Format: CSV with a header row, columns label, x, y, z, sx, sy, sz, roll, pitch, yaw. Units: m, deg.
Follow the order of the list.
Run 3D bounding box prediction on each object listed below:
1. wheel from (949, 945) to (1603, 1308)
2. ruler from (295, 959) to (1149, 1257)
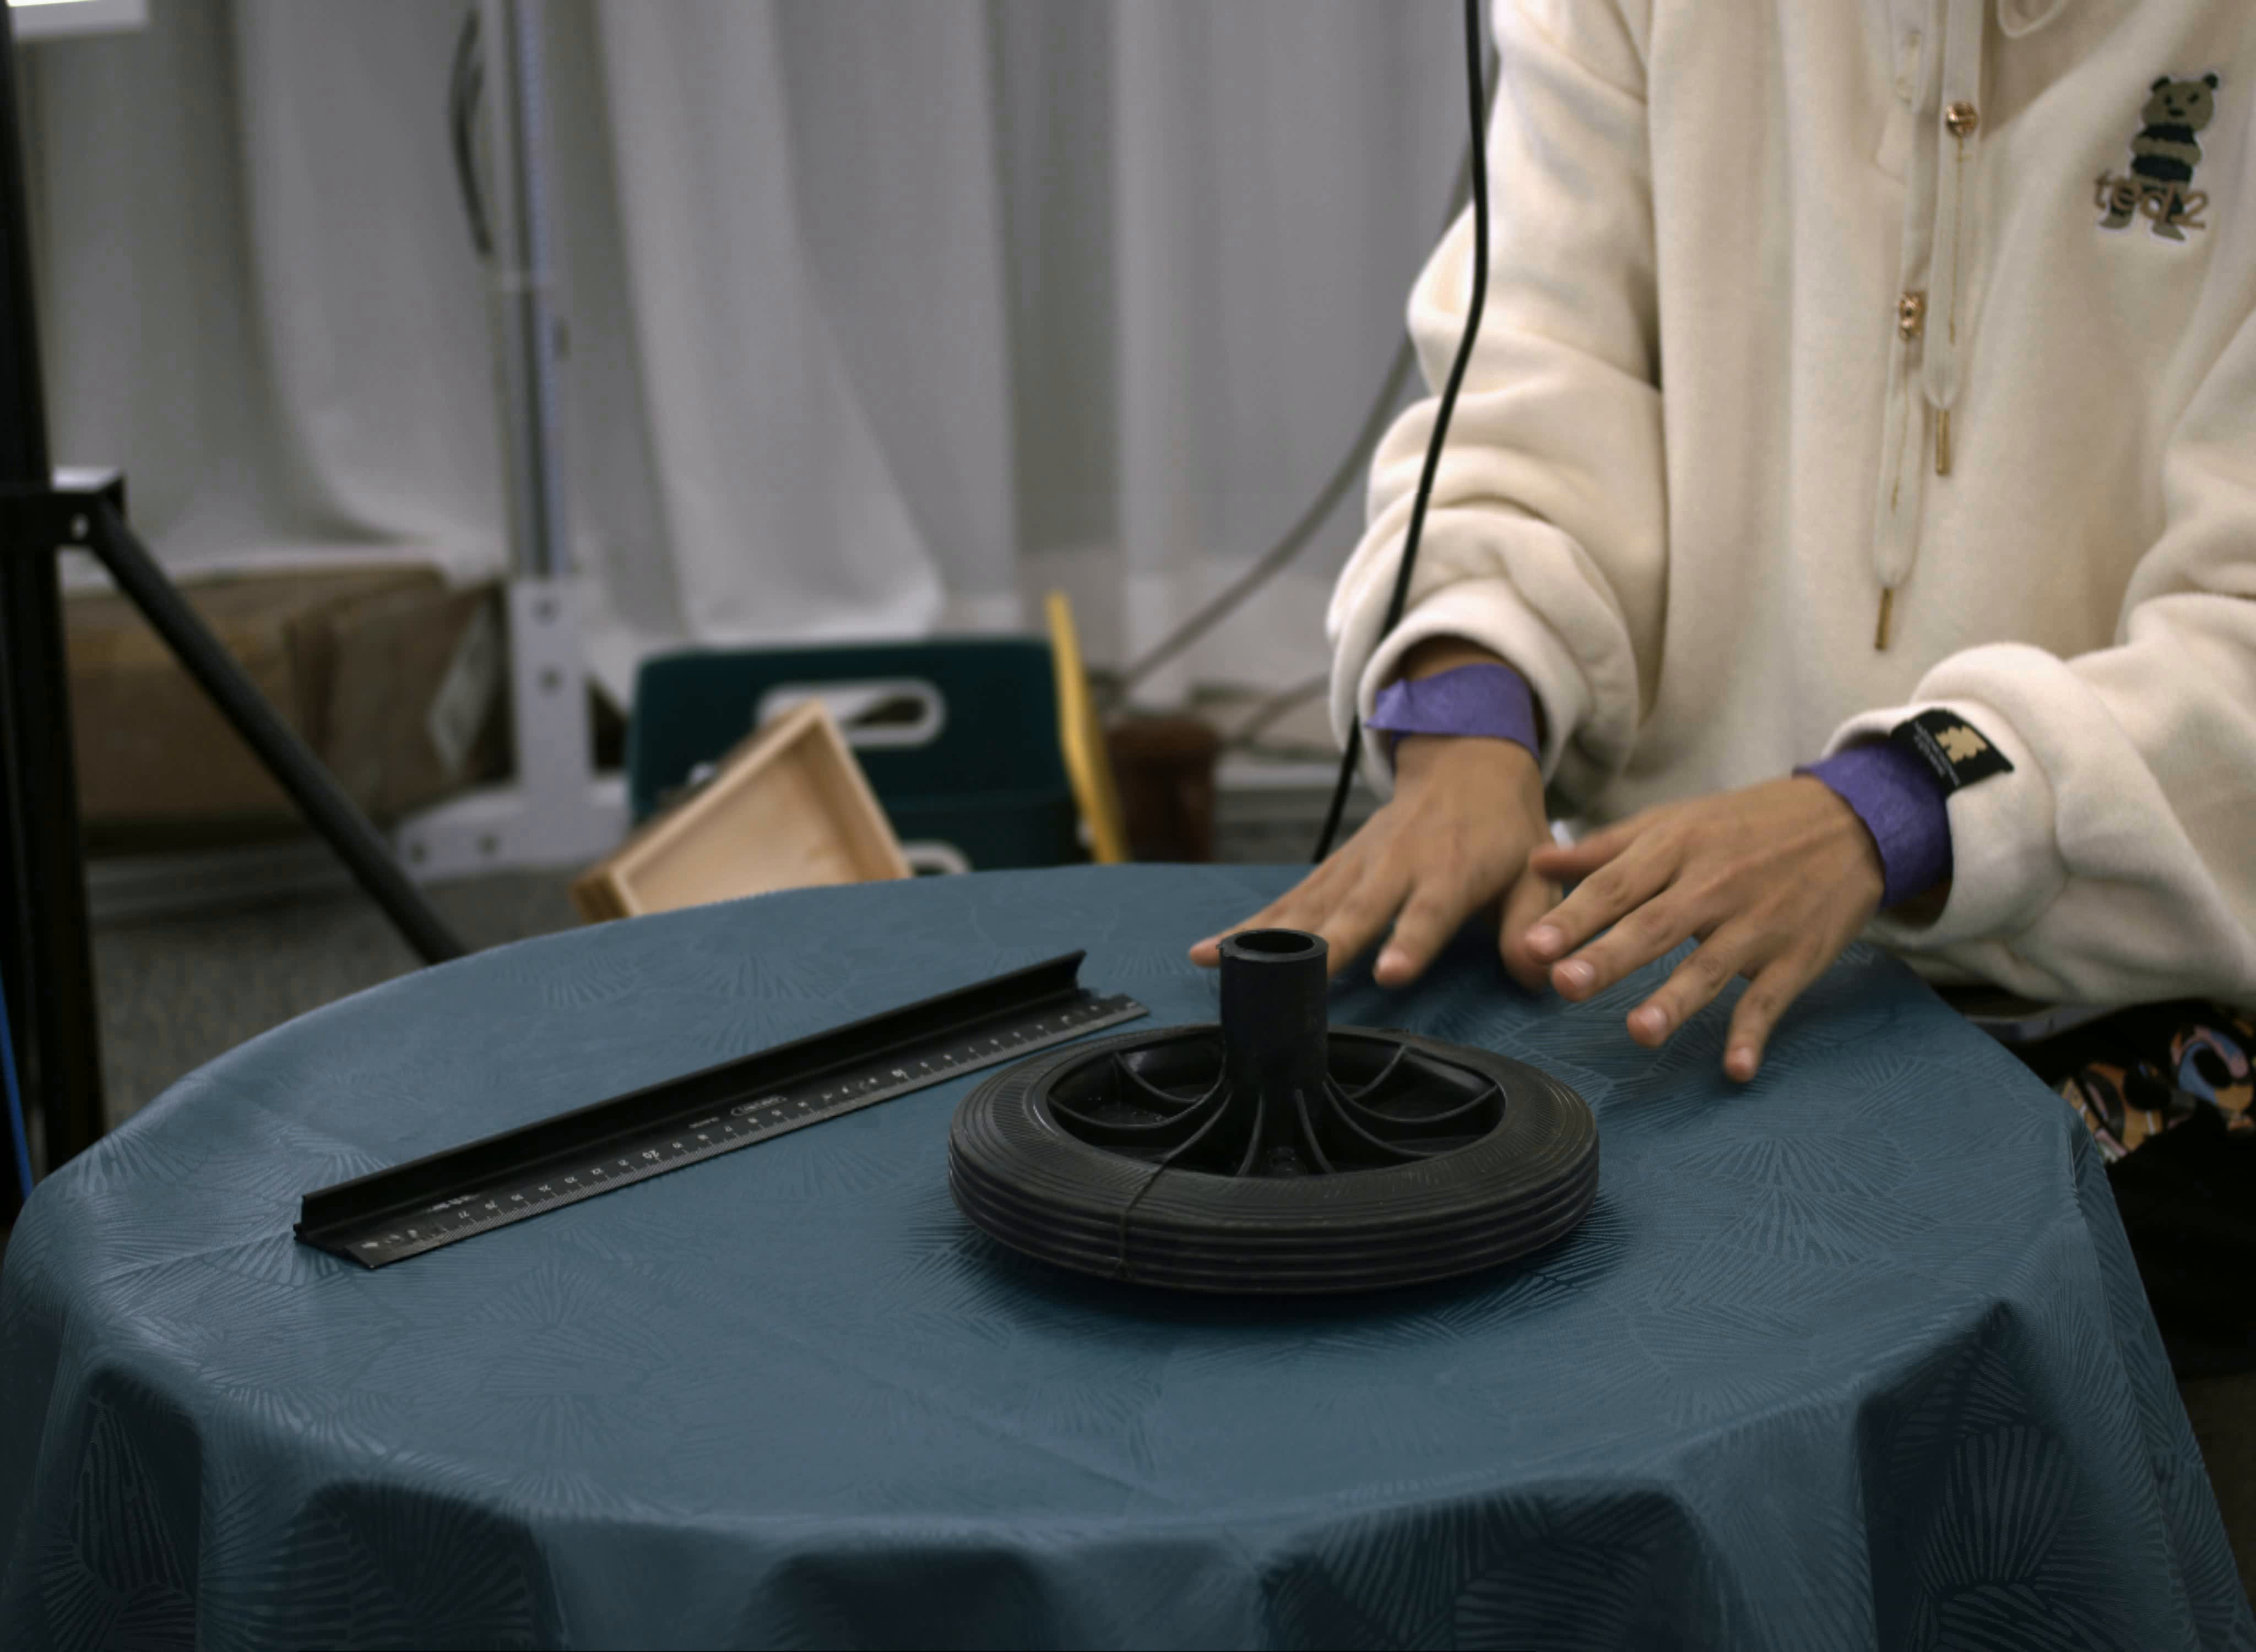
label,x,y,z,sx,sy,sz,roll,pitch,yaw
wheel,0.043,0.077,1.521,0.183,0.079,0.193,-7,17,-24
ruler,-0.117,0.084,1.634,0.305,0.017,0.040,-15,24,-39
